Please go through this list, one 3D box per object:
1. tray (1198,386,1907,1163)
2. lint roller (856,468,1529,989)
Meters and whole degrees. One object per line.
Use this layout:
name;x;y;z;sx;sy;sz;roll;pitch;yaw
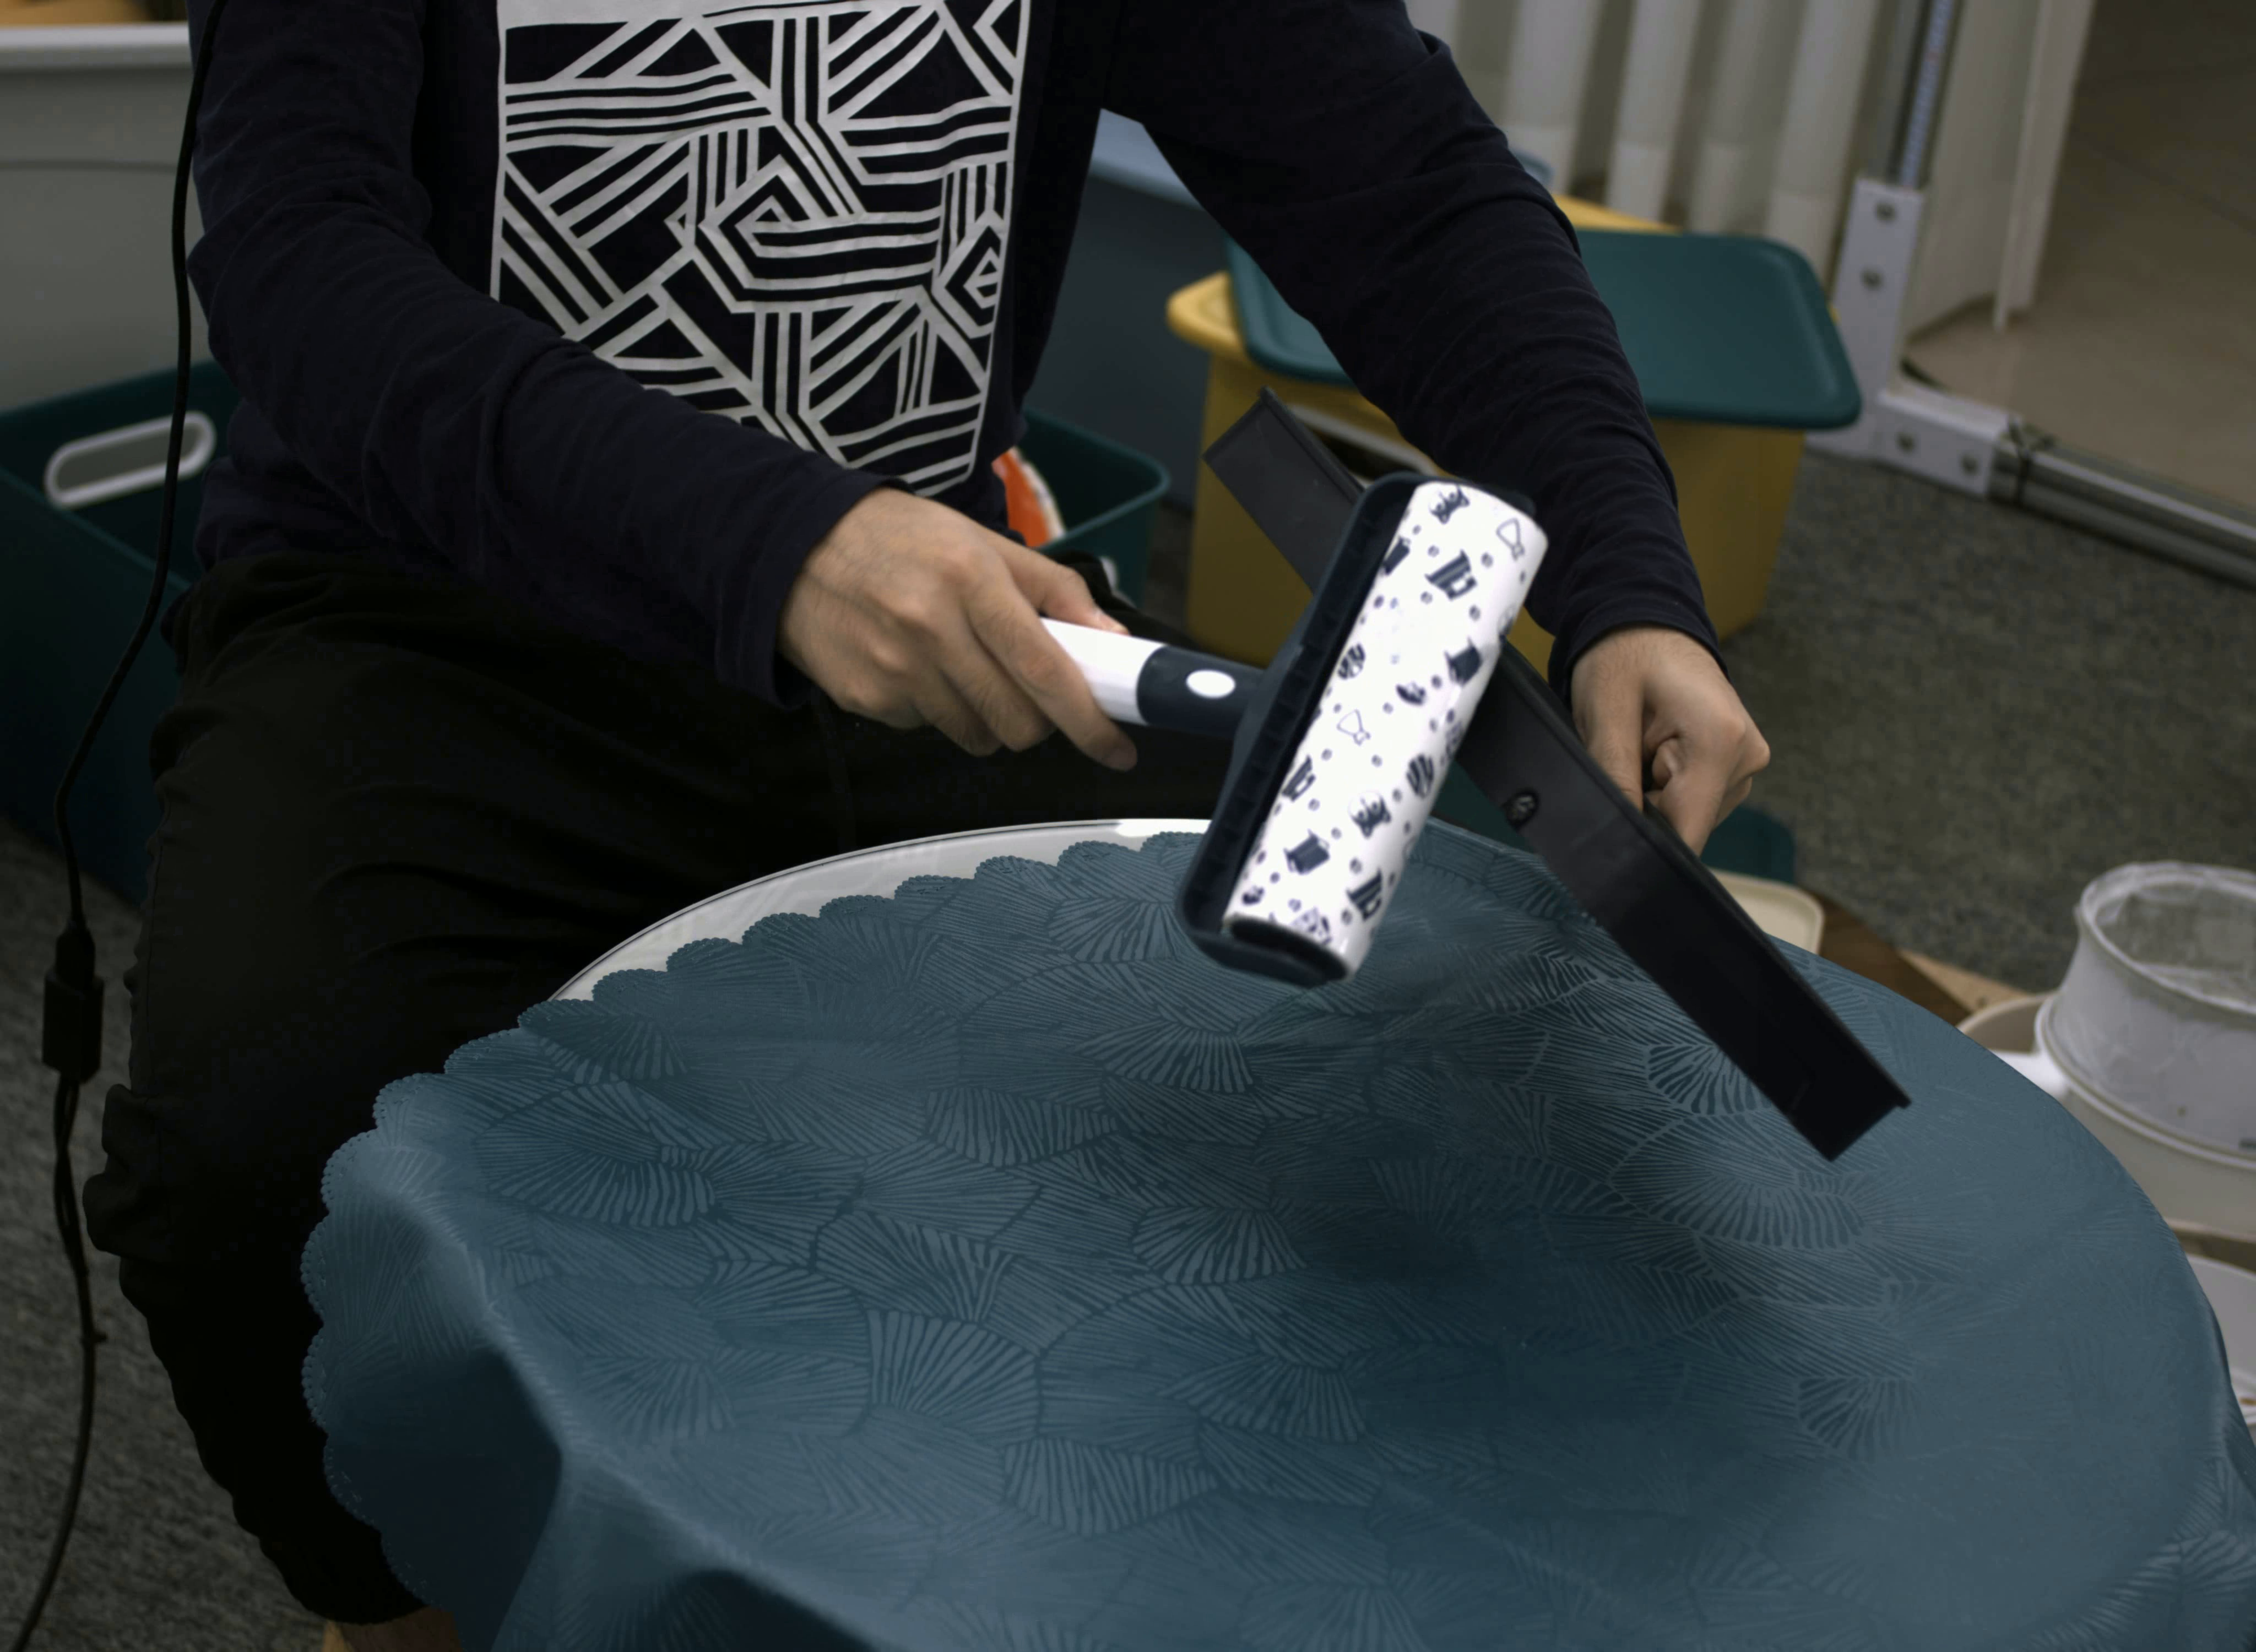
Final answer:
tray;0.140;-0.021;1.814;0.182;0.037;0.321;43;7;-39
lint roller;0.000;-0.047;1.761;0.248;0.177;0.050;12;-20;38
